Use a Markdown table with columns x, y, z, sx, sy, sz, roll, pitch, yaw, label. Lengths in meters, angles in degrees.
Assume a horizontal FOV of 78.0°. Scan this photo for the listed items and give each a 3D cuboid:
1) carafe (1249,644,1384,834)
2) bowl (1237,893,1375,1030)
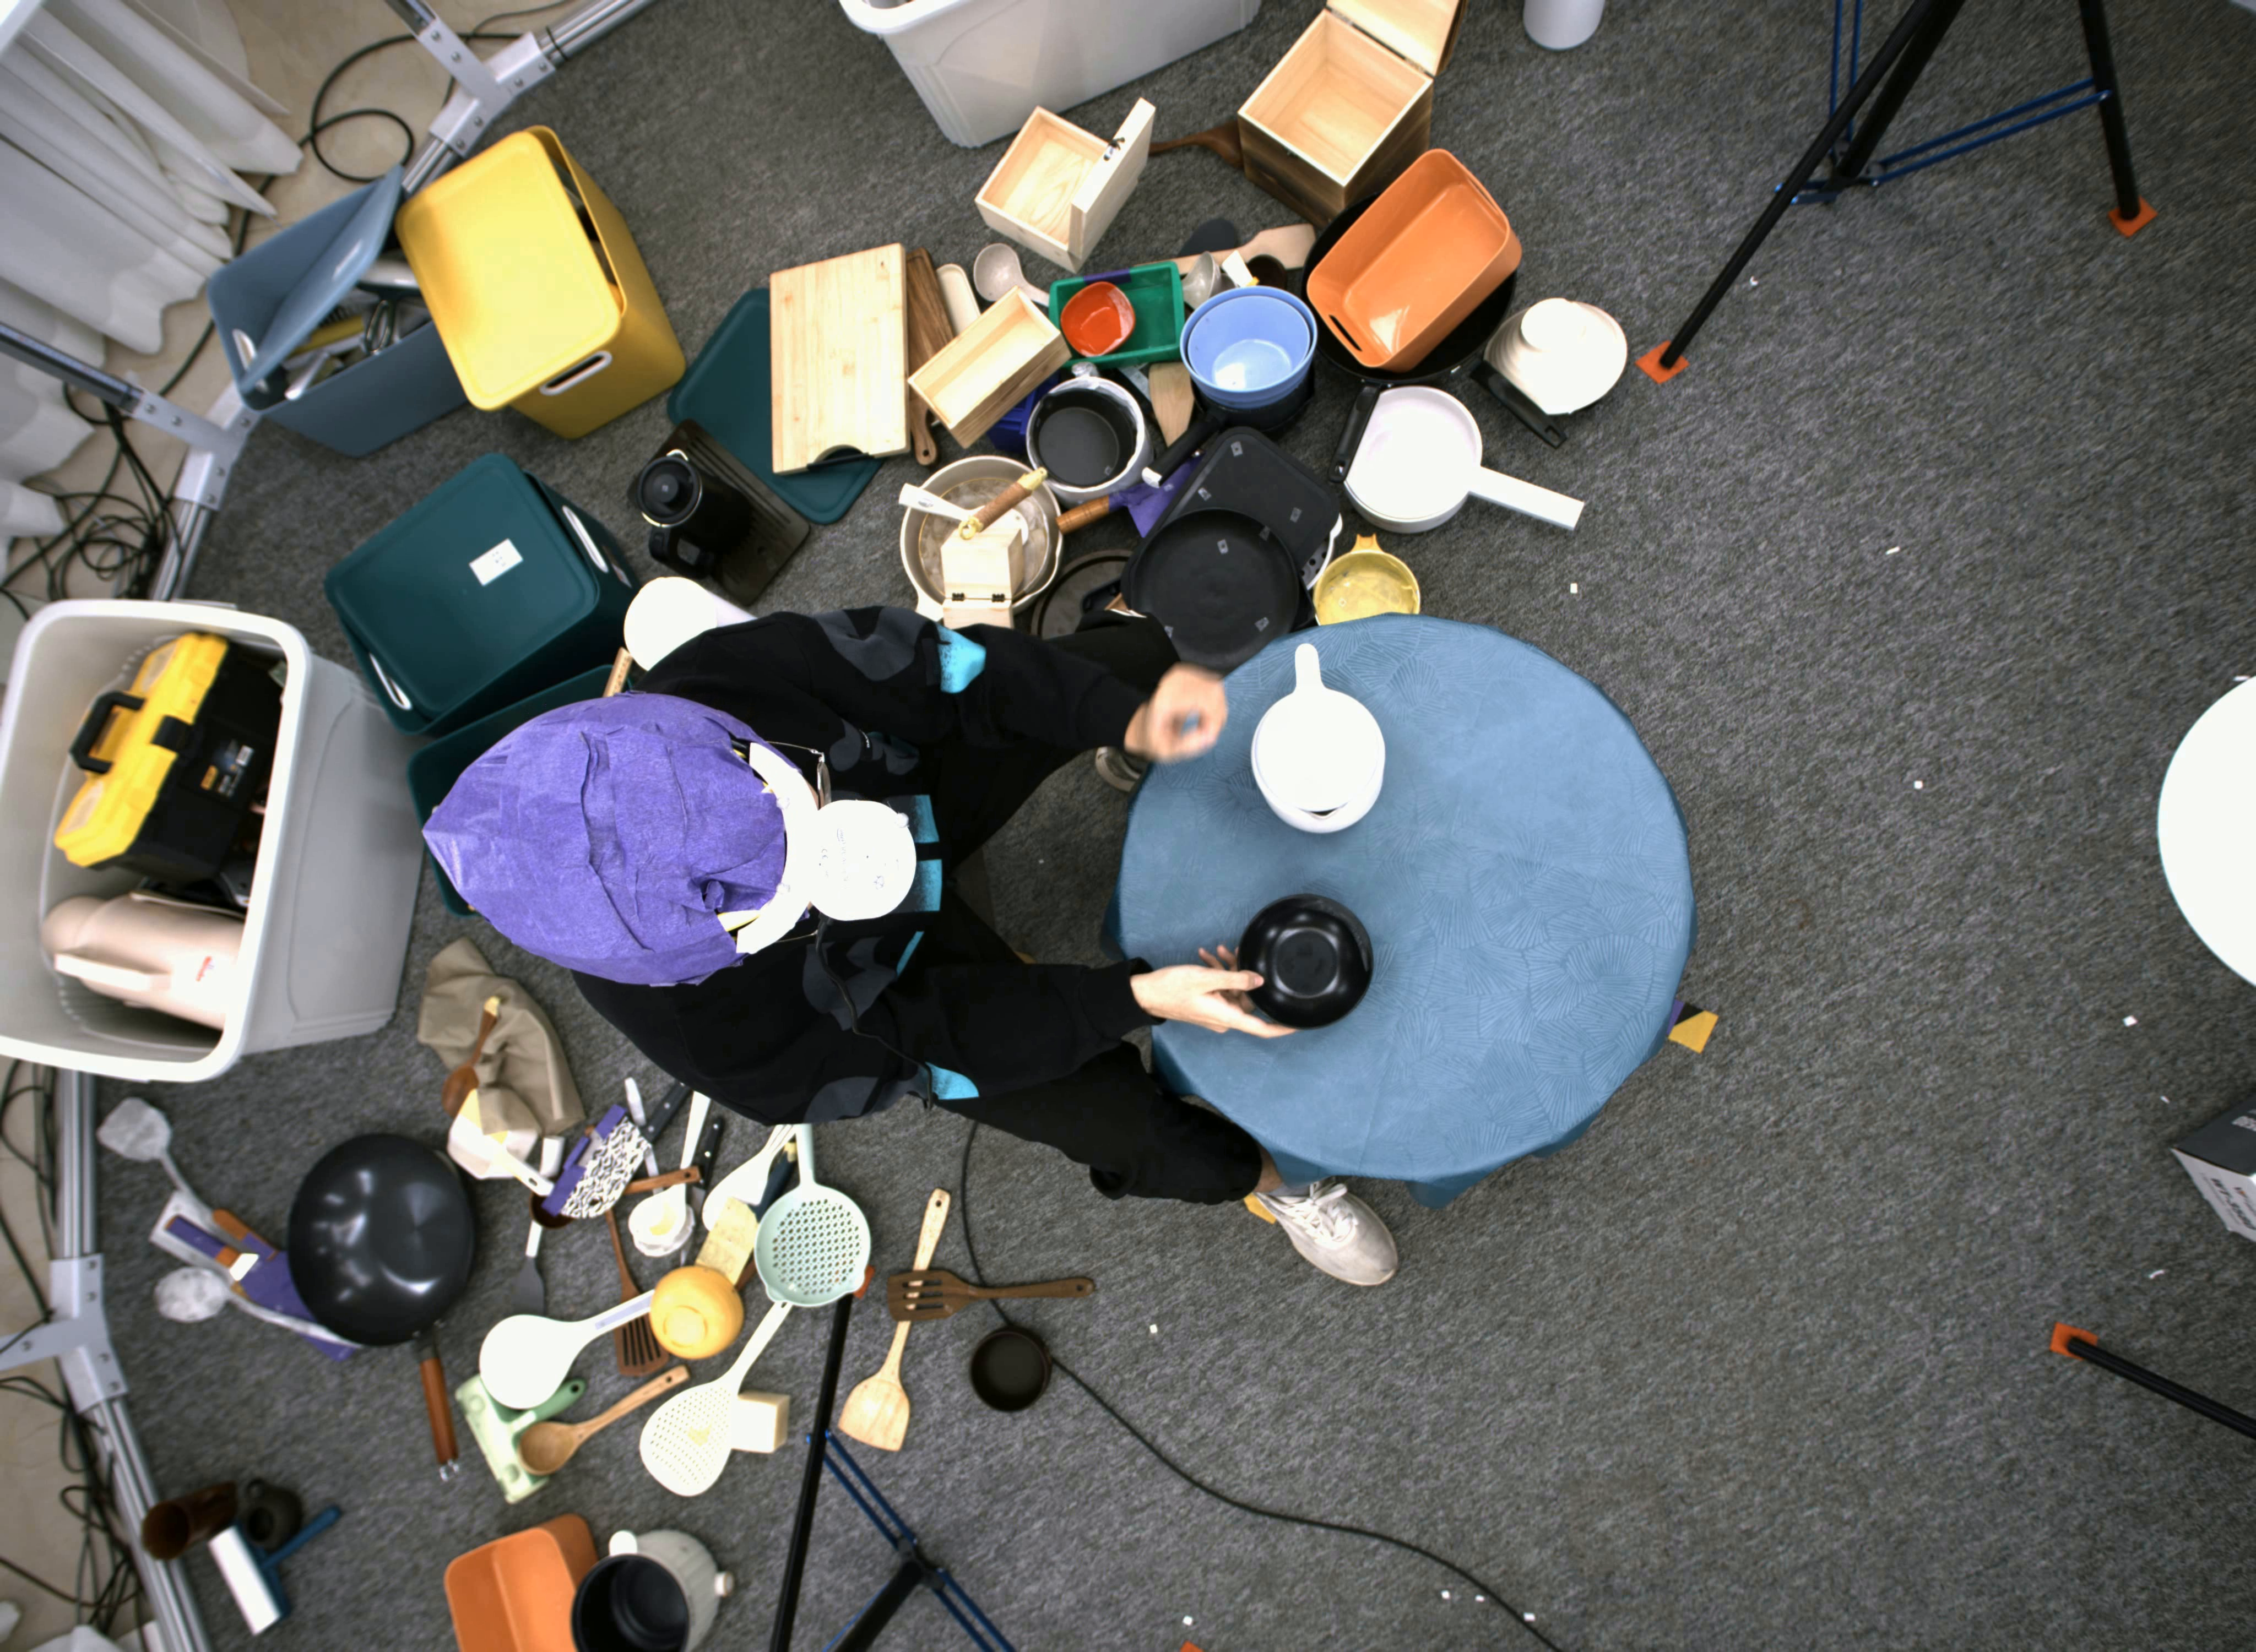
| x | y | z | sx | sy | sz | roll | pitch | yaw | label |
| --- | --- | --- | --- | --- | --- | --- | --- | --- | --- |
| 0.188 | -0.089 | 1.392 | 0.133 | 0.183 | 0.189 | -8 | 82 | 8 | carafe |
| 0.184 | 0.139 | 1.426 | 0.140 | 0.050 | 0.139 | -1 | 85 | 9 | bowl |
